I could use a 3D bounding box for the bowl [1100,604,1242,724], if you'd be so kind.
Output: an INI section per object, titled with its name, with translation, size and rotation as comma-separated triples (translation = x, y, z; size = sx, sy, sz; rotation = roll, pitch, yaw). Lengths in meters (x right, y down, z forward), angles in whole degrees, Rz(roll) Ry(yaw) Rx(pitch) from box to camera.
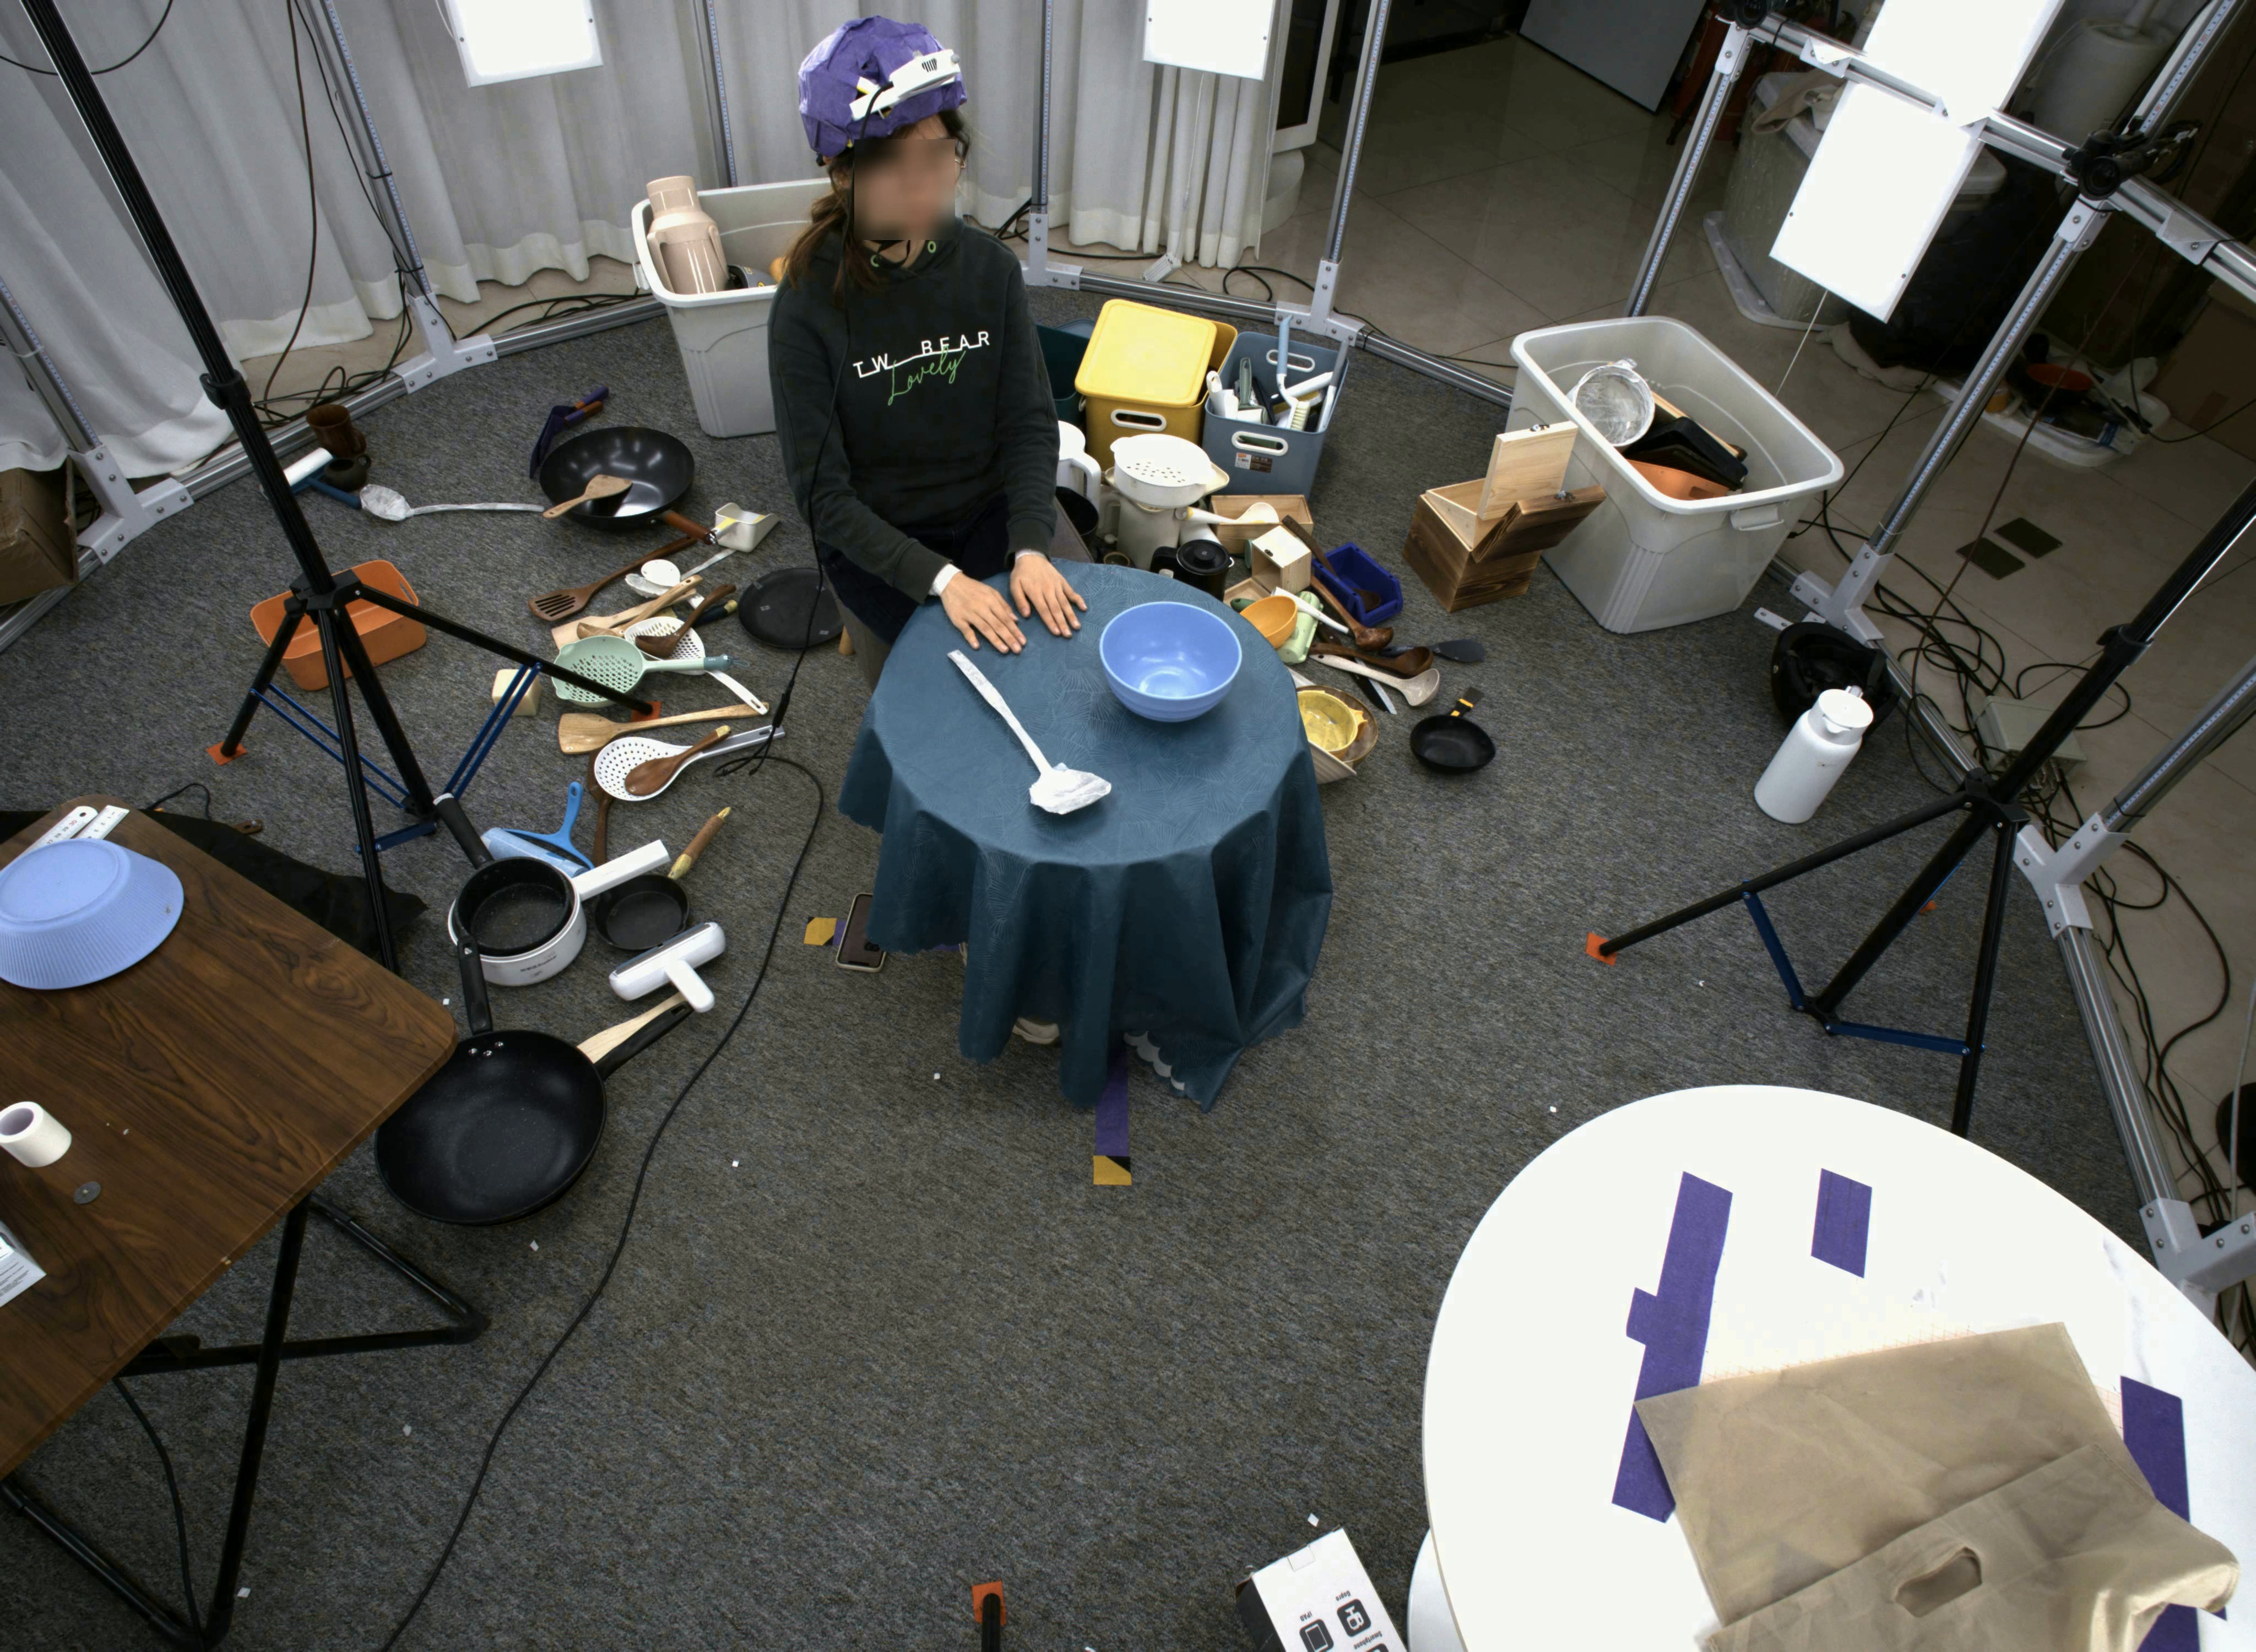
[bowl]
translation = 0.057, -0.214, 1.813
size = 0.196, 0.093, 0.201
rotation = 1, 50, -2

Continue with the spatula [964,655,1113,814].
[spatula]
translation = -0.146, -0.137, 1.768
size = 0.099, 0.043, 0.372
rotation = -23, 54, -20
